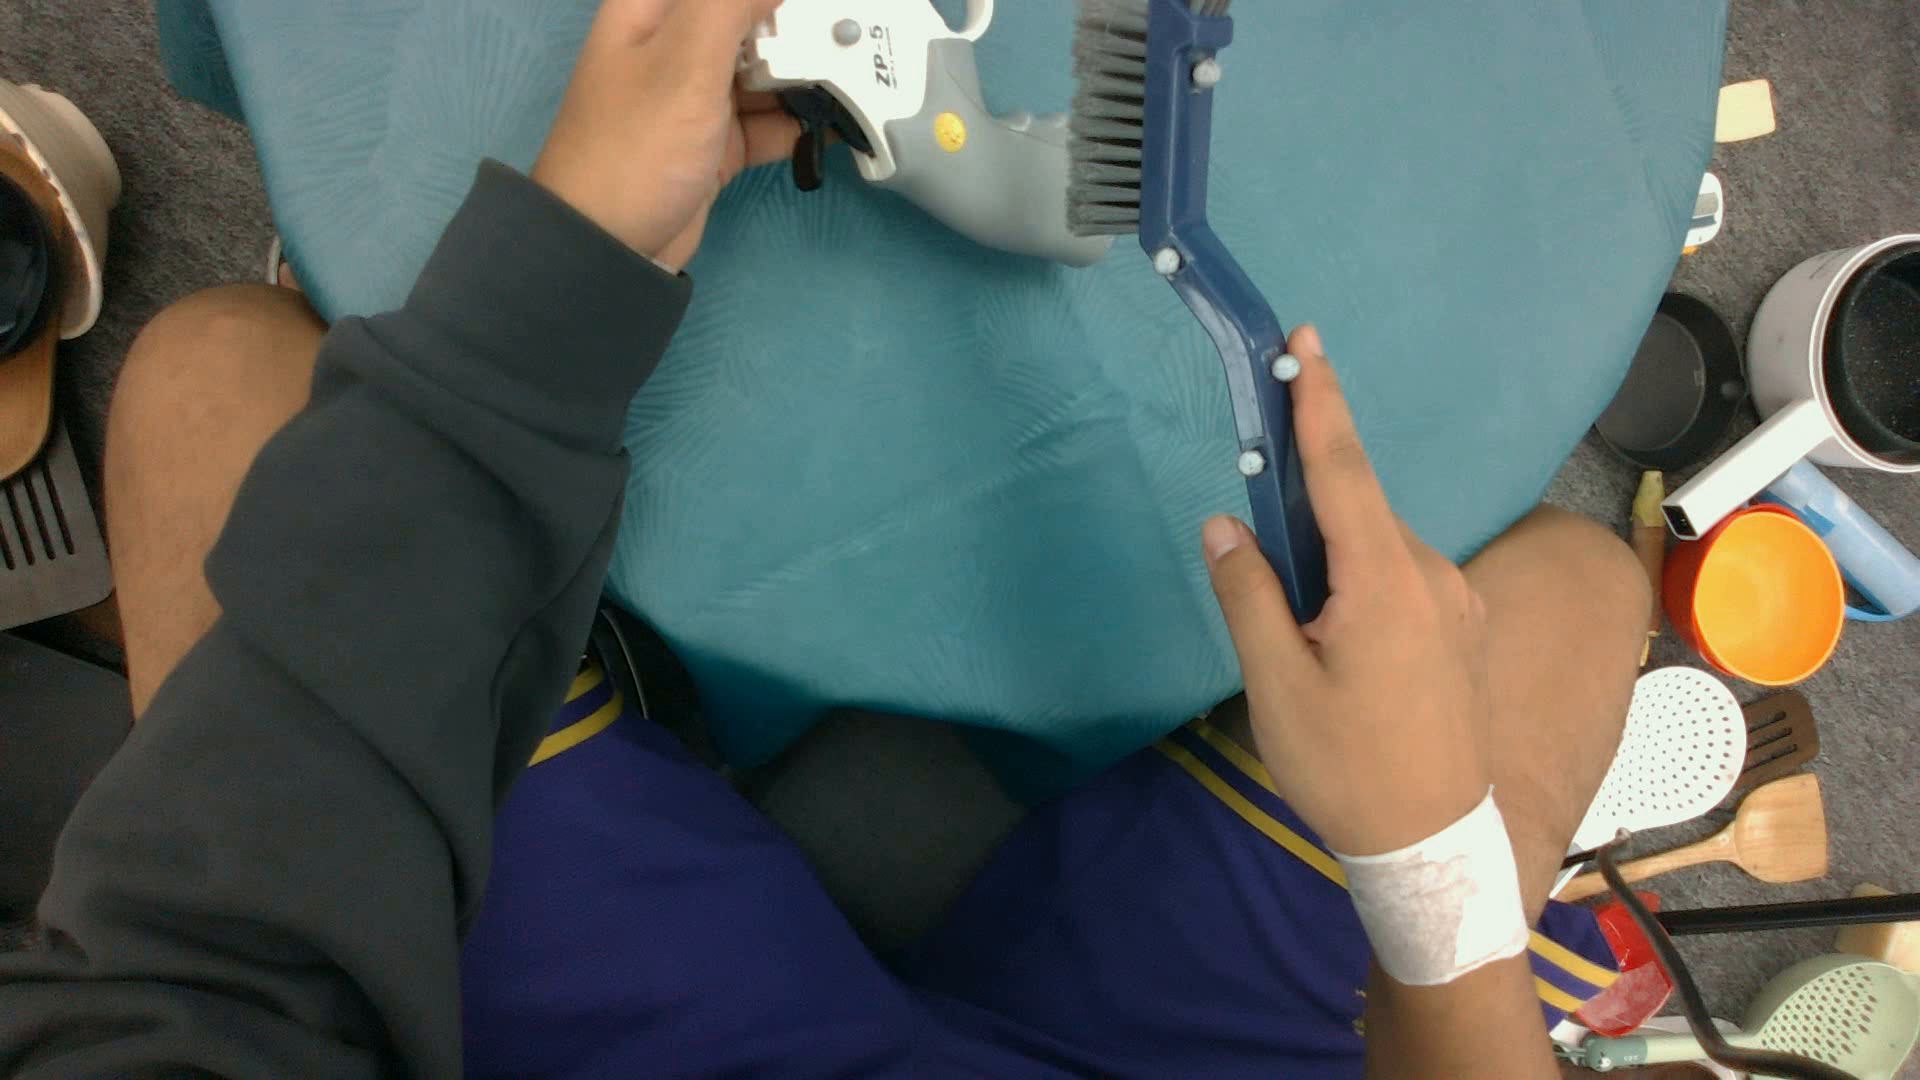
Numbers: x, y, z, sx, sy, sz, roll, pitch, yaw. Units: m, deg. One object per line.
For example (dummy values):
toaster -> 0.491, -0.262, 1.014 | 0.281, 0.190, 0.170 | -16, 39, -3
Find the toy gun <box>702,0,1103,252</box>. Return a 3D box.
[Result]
toy gun -> -0.022, -0.194, 0.459 | 0.142, 0.039, 0.208 | -17, 105, -32

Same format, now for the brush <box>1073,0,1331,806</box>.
brush -> 0.098, -0.051, 0.433 | 0.033, 0.095, 0.273 | -27, 99, -54
